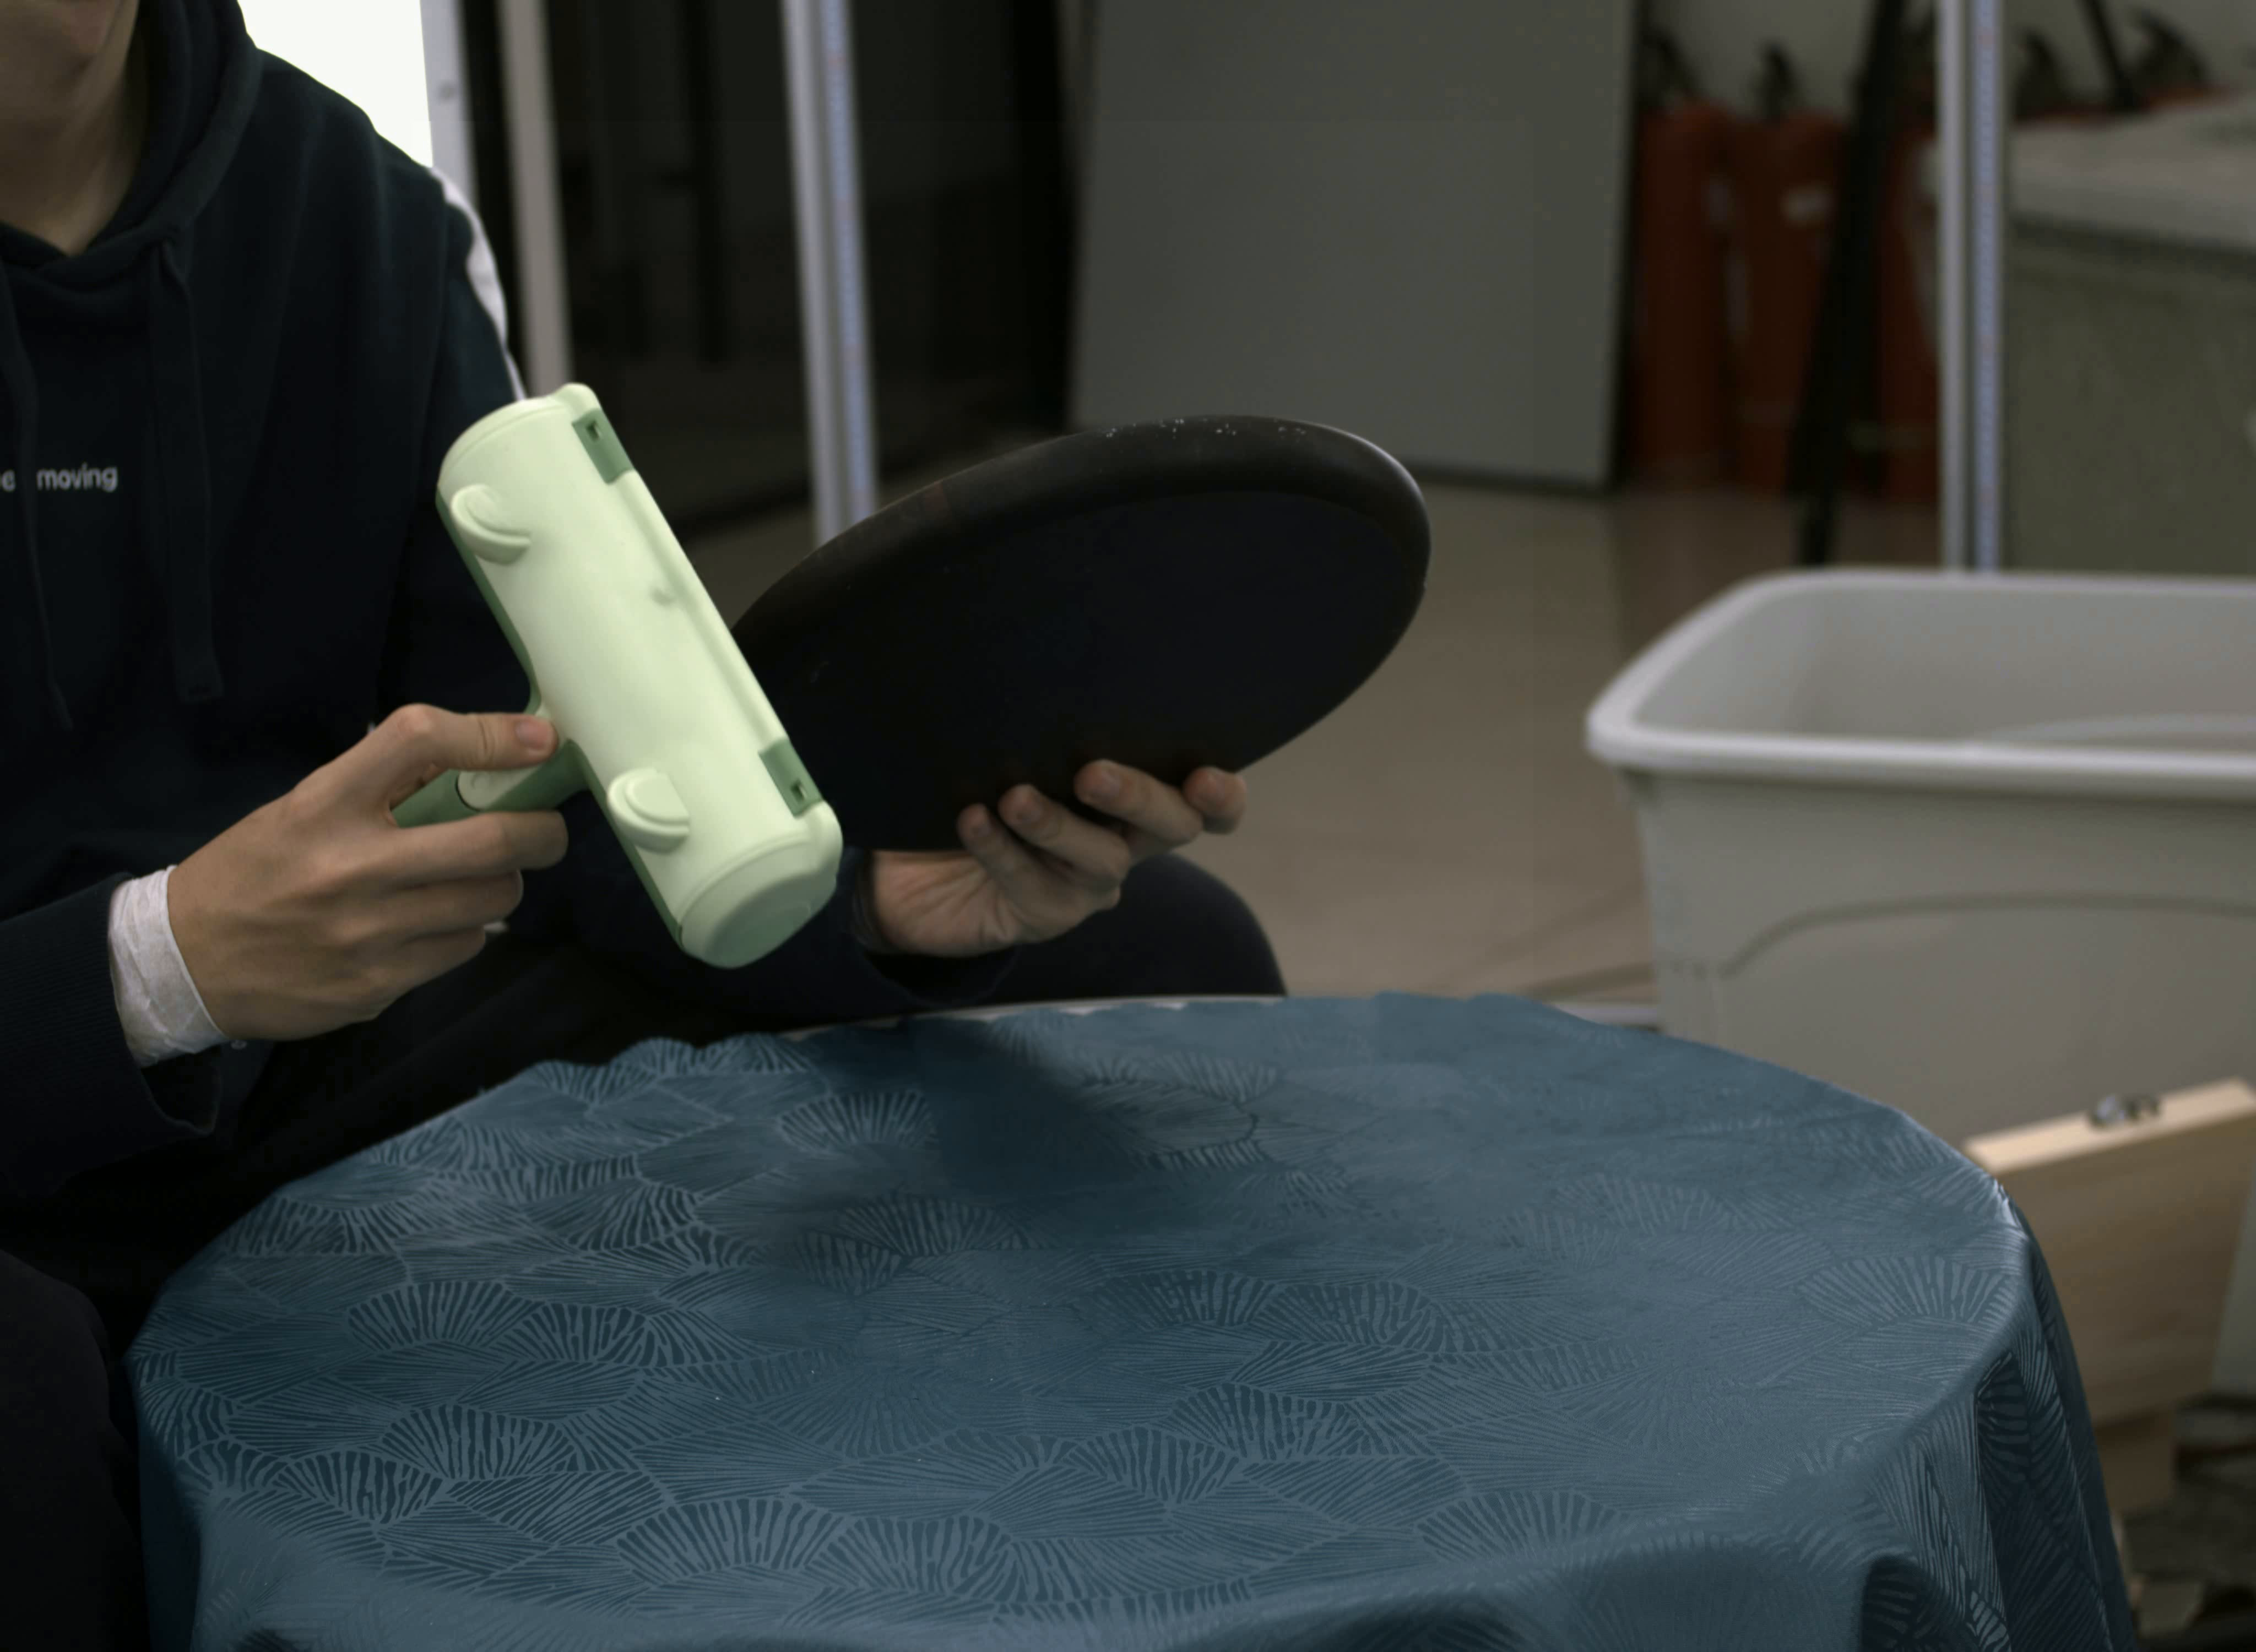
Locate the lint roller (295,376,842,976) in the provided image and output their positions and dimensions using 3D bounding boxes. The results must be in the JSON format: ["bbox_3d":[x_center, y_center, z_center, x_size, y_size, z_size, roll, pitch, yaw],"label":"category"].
[{"bbox_3d":[-0.201,-0.017,1.693,0.183,0.201,0.081,-35,-25,10],"label":"lint roller"}]

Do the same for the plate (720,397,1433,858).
[{"bbox_3d":[-0.017,-0.059,1.774,0.251,0.029,0.255,-15,-25,-8],"label":"plate"}]
